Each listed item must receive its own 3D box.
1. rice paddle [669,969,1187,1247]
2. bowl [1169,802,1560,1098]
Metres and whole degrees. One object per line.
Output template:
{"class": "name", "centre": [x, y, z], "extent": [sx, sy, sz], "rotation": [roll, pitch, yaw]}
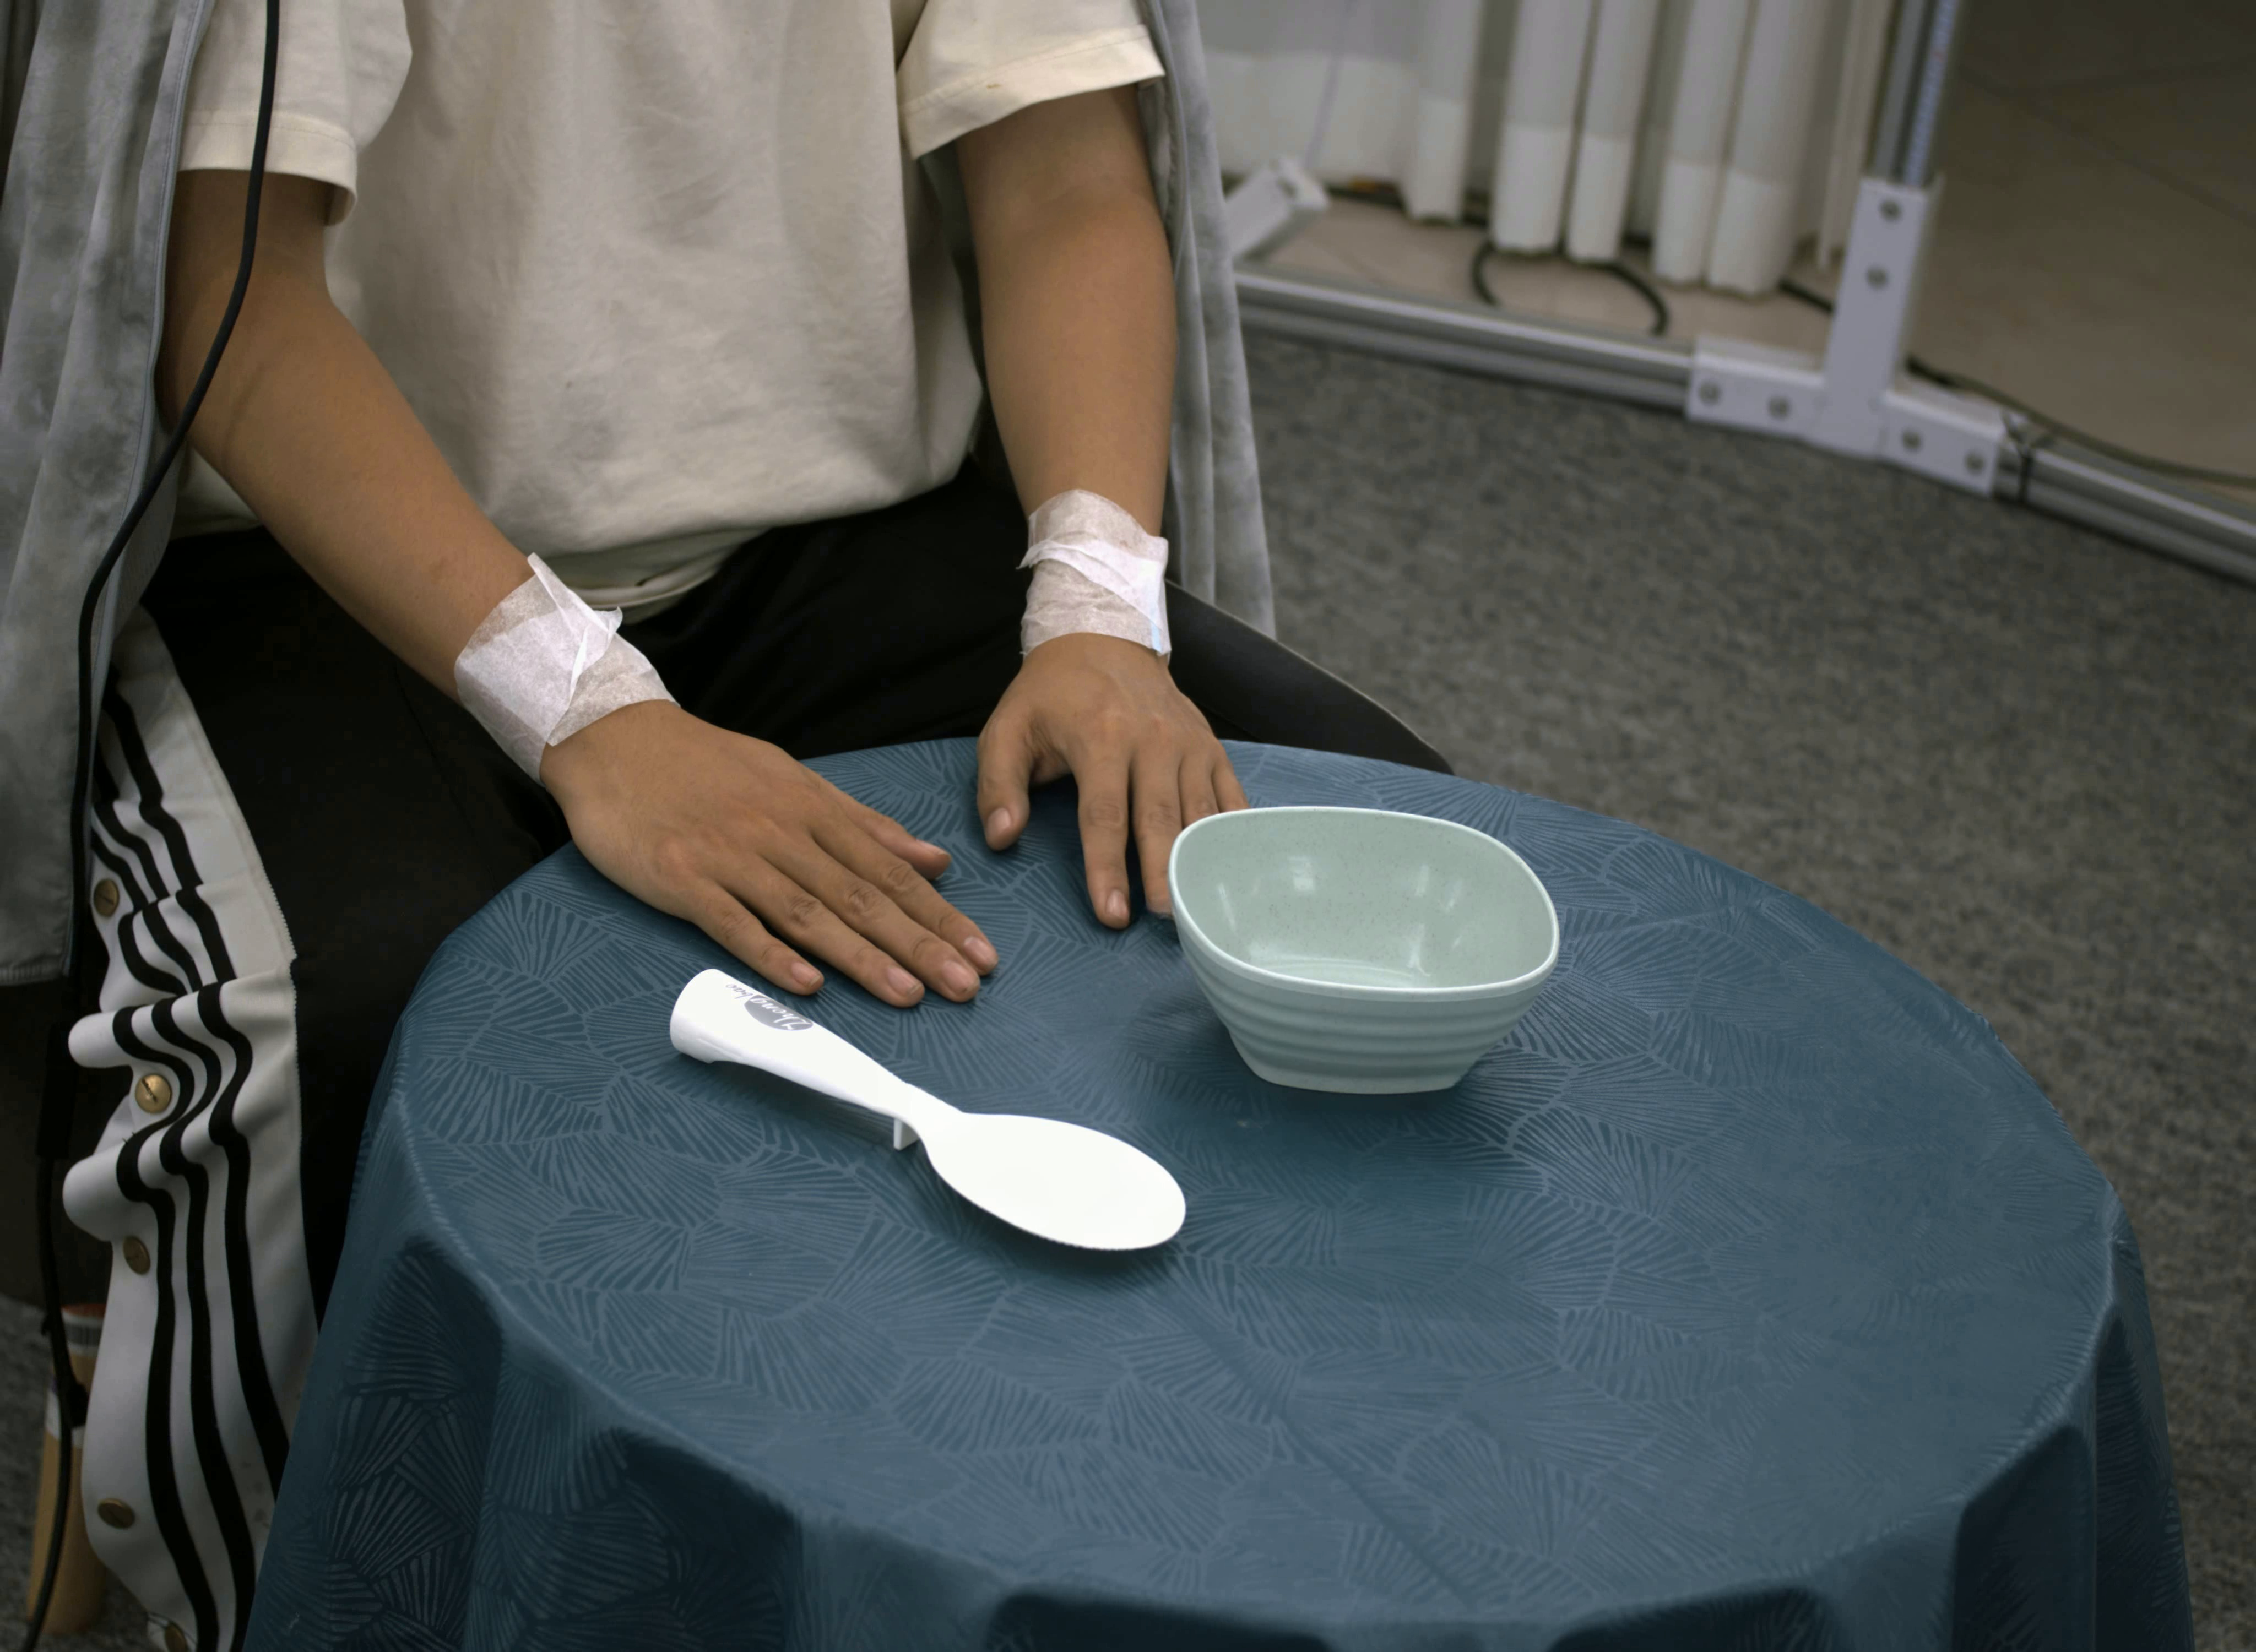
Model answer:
{"class": "rice paddle", "centre": [-0.068, 0.097, 1.808], "extent": [0.206, 0.029, 0.068], "rotation": [23, 32, 29]}
{"class": "bowl", "centre": [0.081, 0.050, 1.906], "extent": [0.151, 0.058, 0.152], "rotation": [5, 29, -3]}
